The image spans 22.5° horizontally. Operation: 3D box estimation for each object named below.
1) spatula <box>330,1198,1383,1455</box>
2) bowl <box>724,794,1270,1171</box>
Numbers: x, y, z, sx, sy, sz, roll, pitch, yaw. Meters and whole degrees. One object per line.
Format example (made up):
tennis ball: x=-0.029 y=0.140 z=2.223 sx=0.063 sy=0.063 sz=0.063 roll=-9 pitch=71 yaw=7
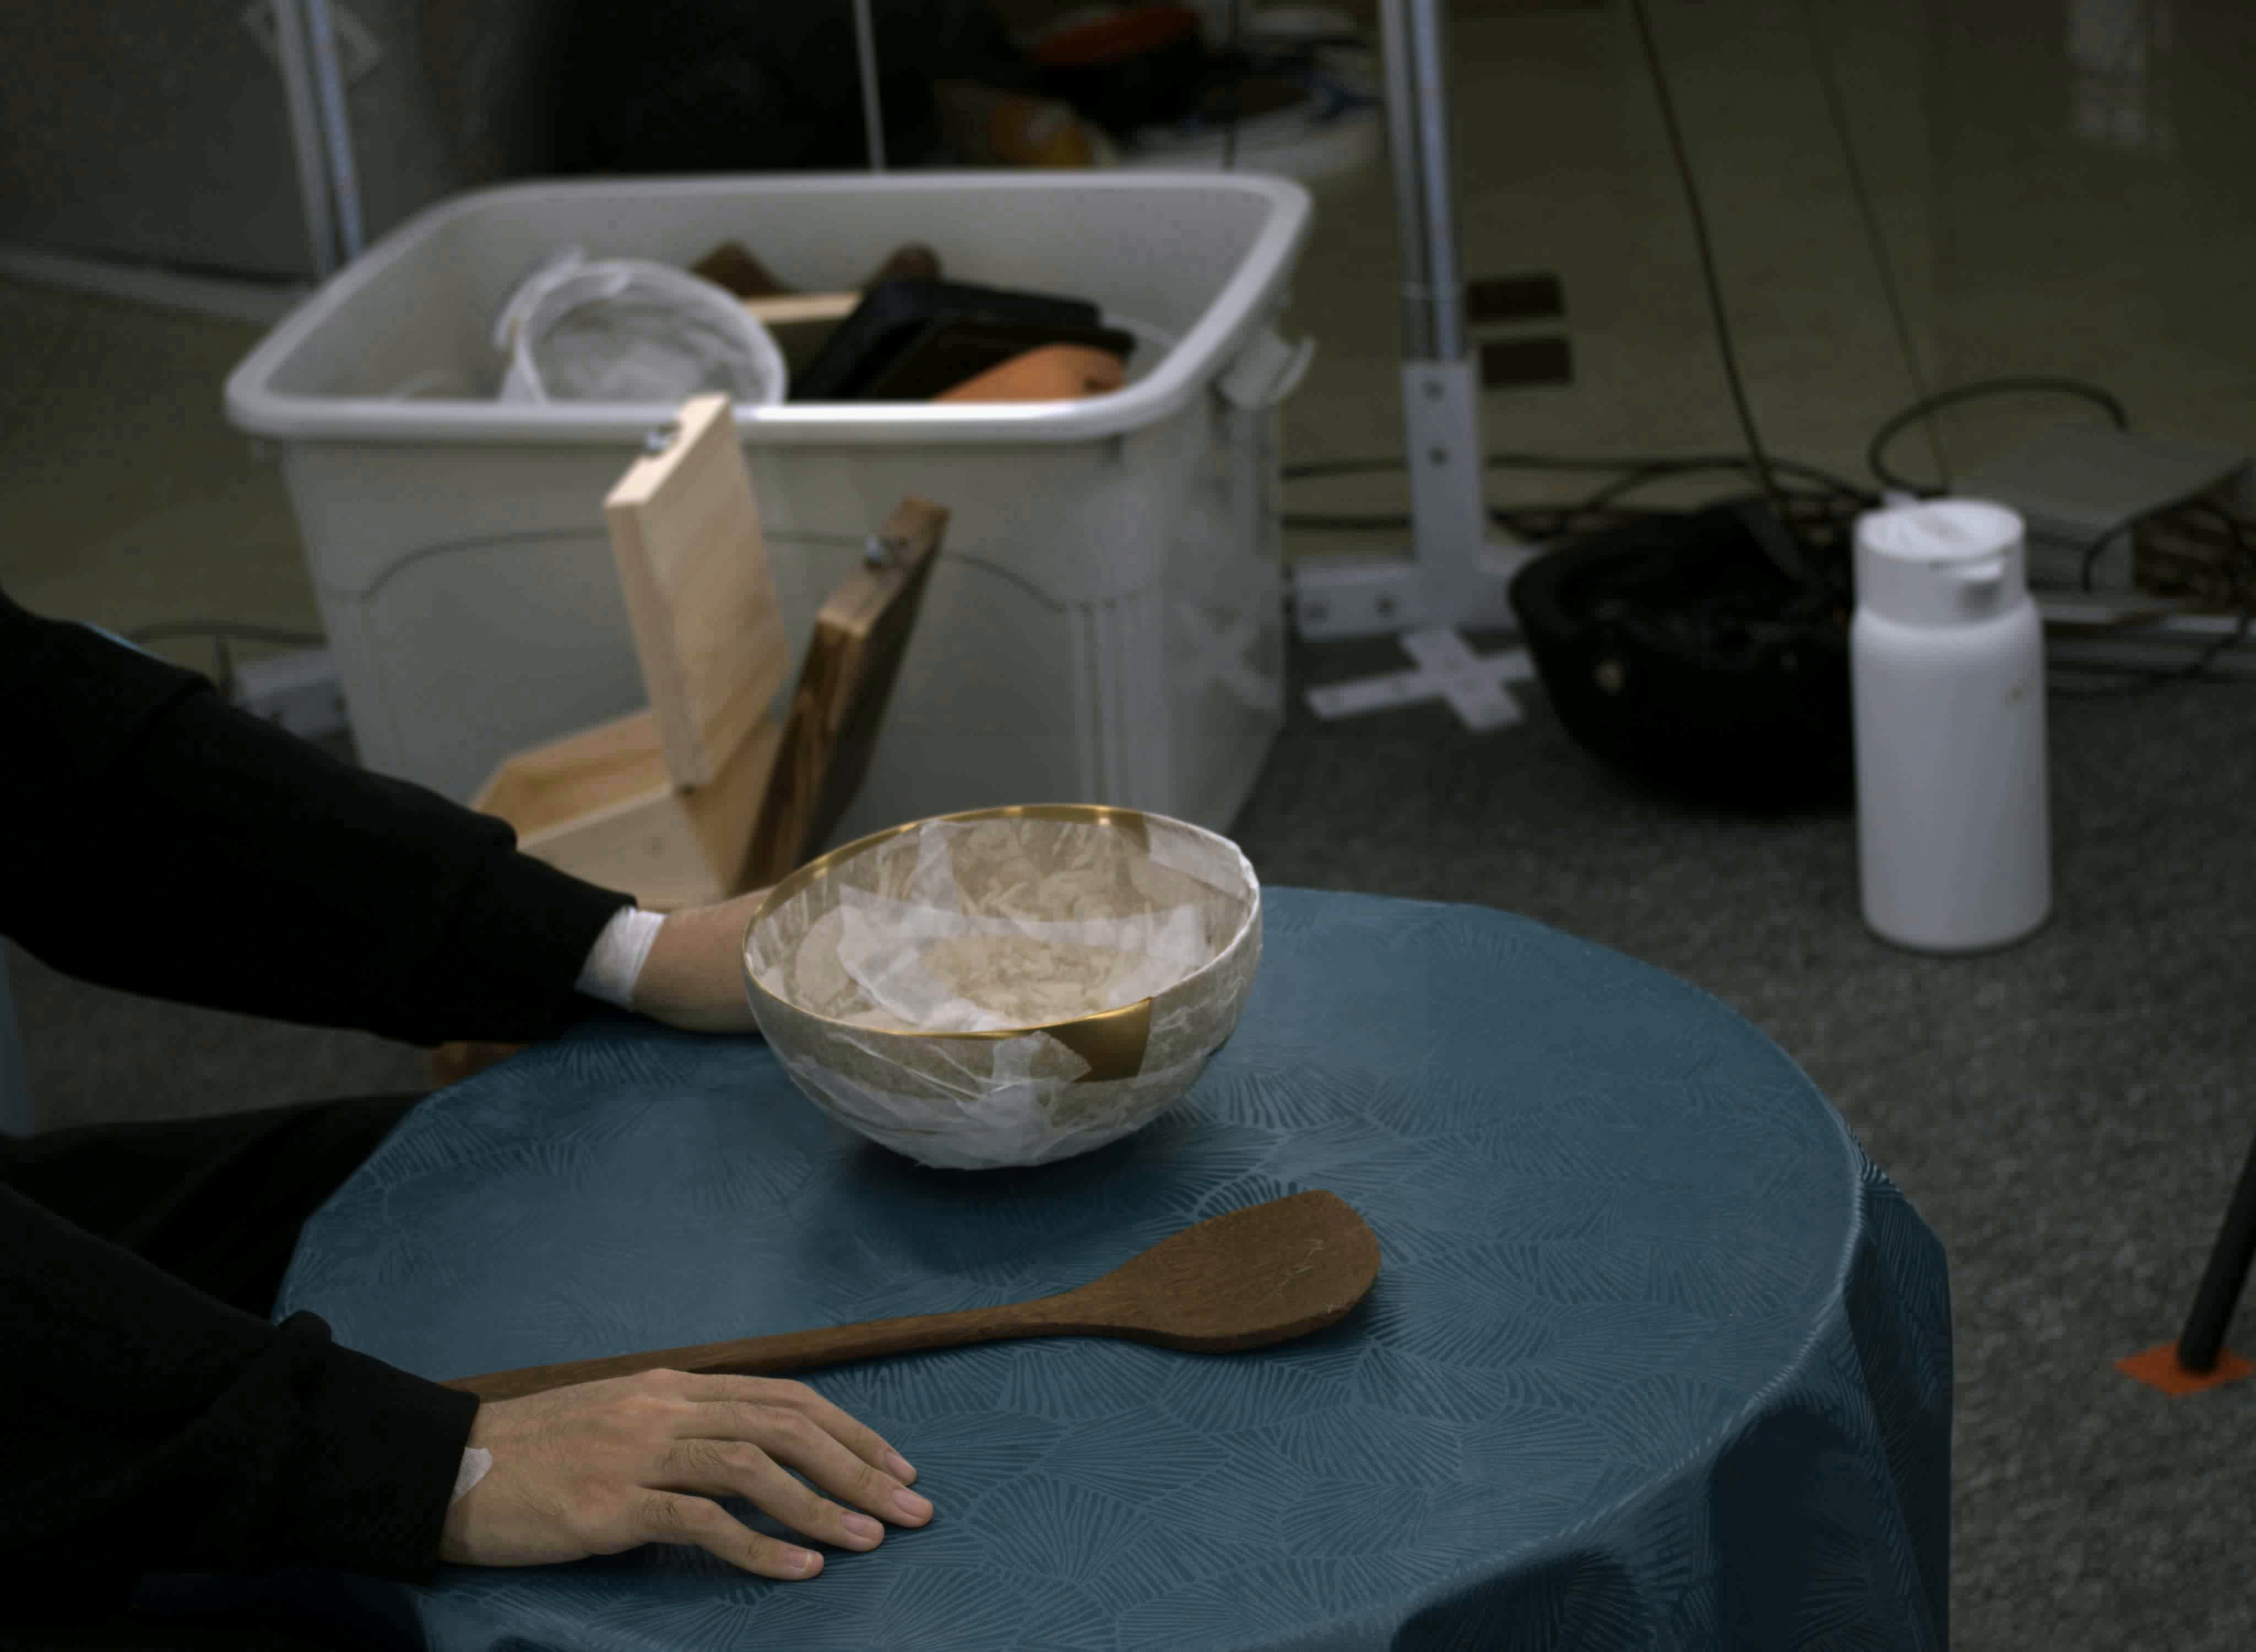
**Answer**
spatula: x=-0.098 y=0.187 z=2.057 sx=0.385 sy=0.016 sz=0.095 roll=-9 pitch=25 yaw=-4
bowl: x=-0.046 y=0.073 z=2.194 sx=0.214 sy=0.096 sz=0.211 roll=-6 pitch=26 yaw=3
